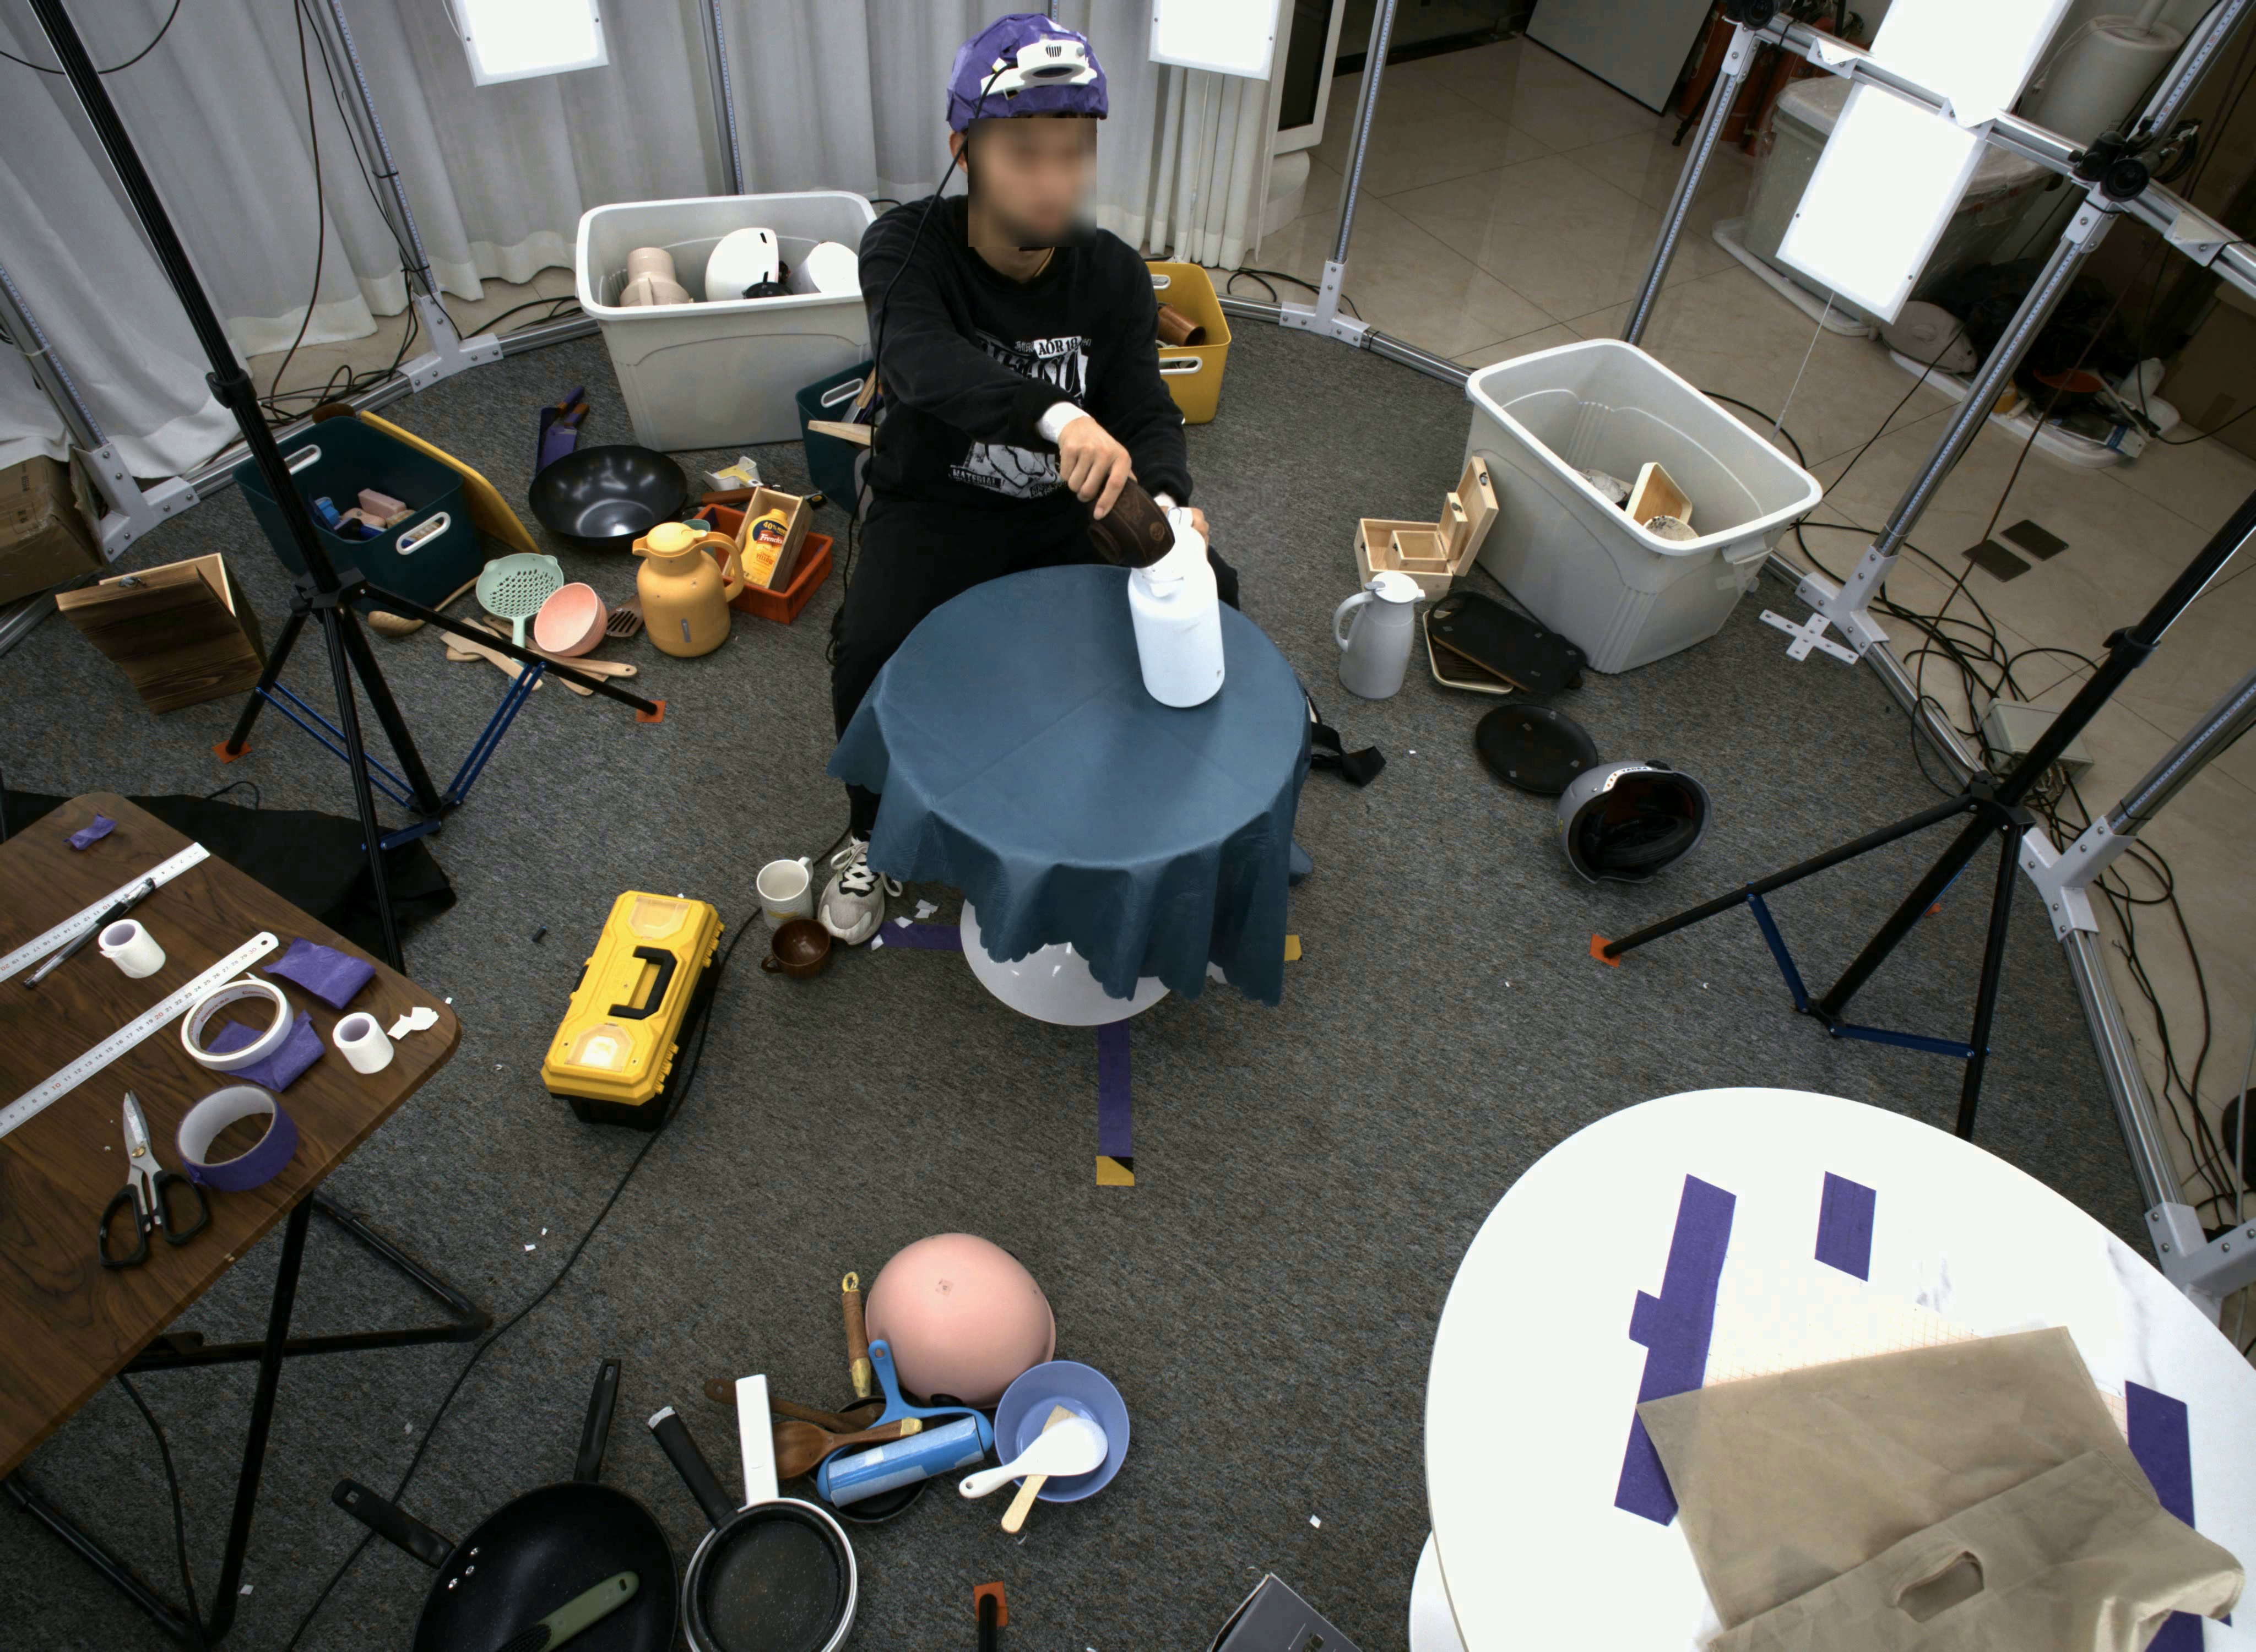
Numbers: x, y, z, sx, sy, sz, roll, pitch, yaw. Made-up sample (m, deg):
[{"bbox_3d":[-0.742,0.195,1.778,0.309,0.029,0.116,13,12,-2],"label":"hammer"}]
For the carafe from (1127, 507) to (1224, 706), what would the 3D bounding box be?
[{"bbox_3d":[0.066,-0.298,1.747,0.124,0.262,0.176,2,58,13],"label":"carafe"}]

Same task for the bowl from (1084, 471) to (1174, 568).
[{"bbox_3d":[-0.008,-0.361,1.555,0.070,0.115,0.120,-42,62,-9],"label":"bowl"}]
